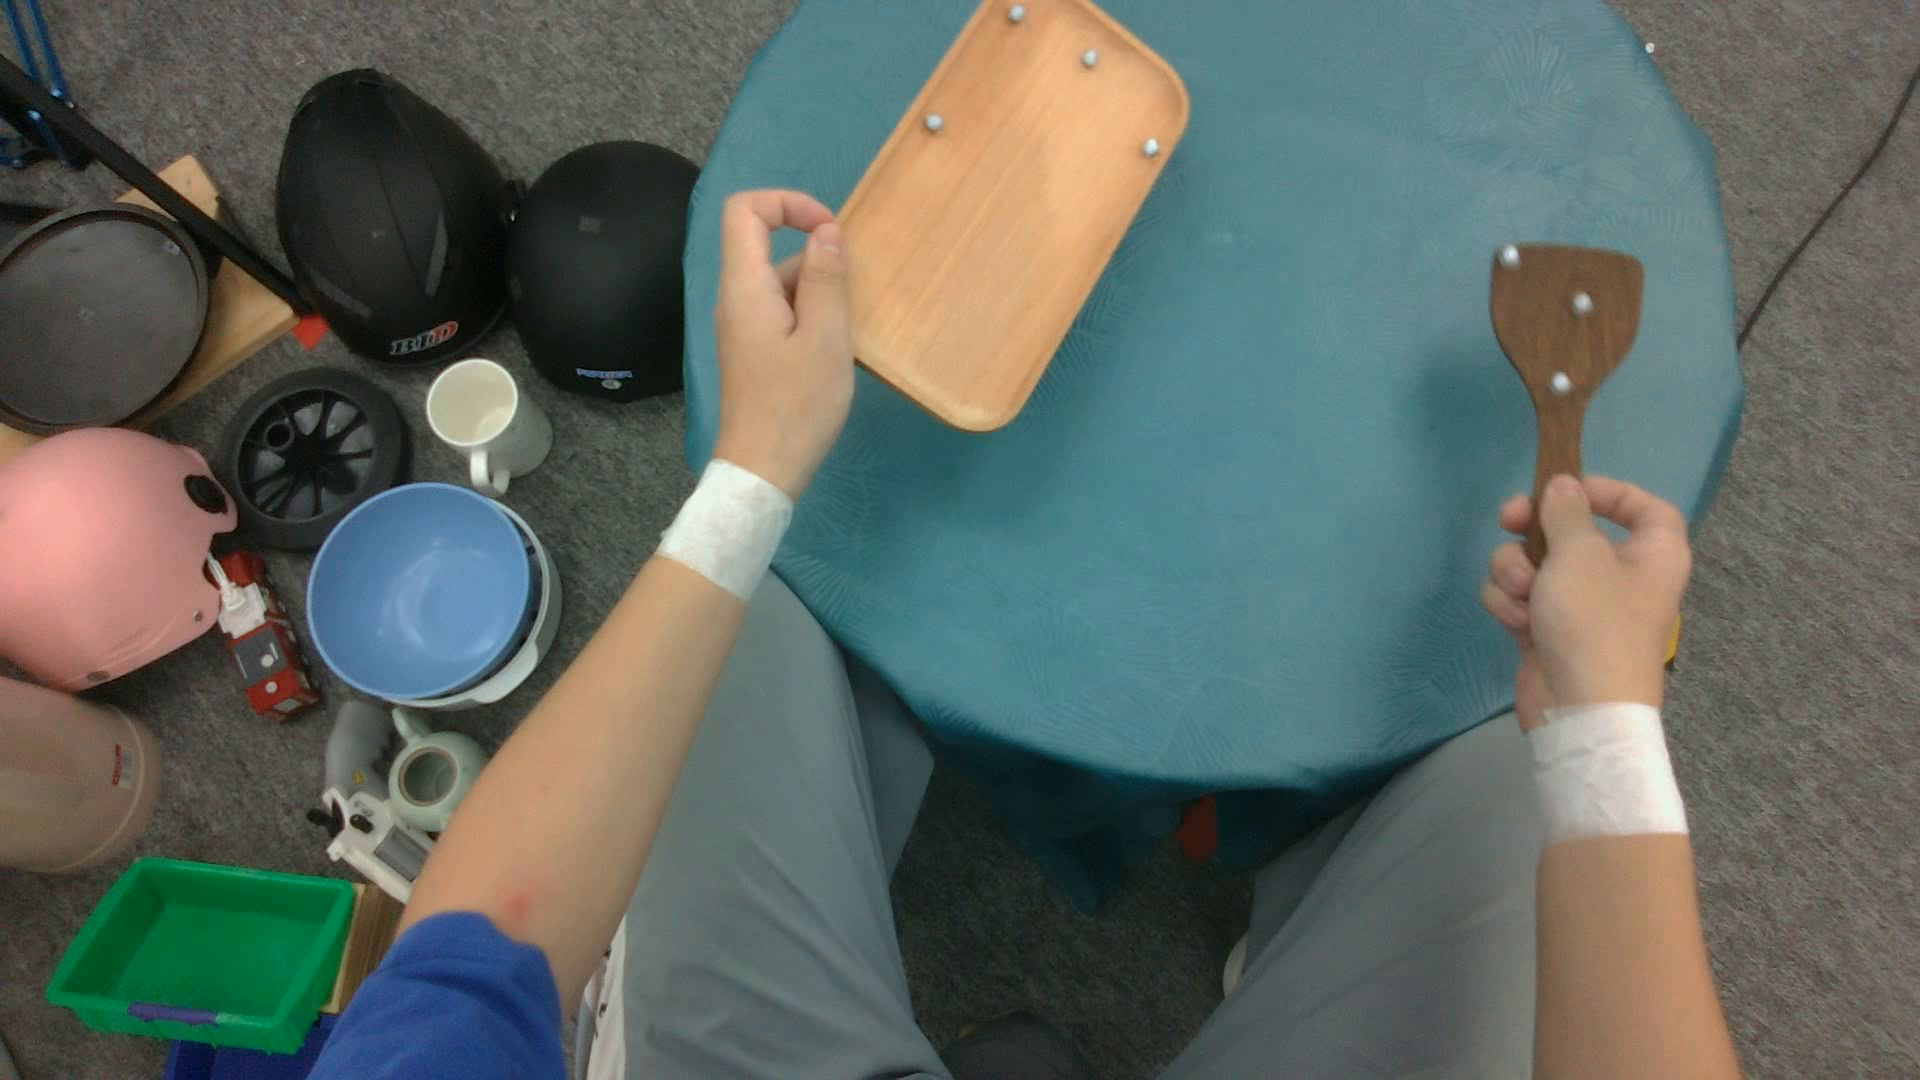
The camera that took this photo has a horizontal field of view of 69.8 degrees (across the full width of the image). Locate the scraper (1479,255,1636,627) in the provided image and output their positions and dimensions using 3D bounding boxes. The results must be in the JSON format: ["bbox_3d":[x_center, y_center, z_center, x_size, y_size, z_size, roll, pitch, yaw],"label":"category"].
[{"bbox_3d":[0.291,-0.054,0.681,0.076,0.011,0.212,8,65,14],"label":"scraper"}]

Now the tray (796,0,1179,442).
[{"bbox_3d":[0.020,-0.173,0.719,0.130,0.023,0.251,33,69,-8],"label":"tray"}]
